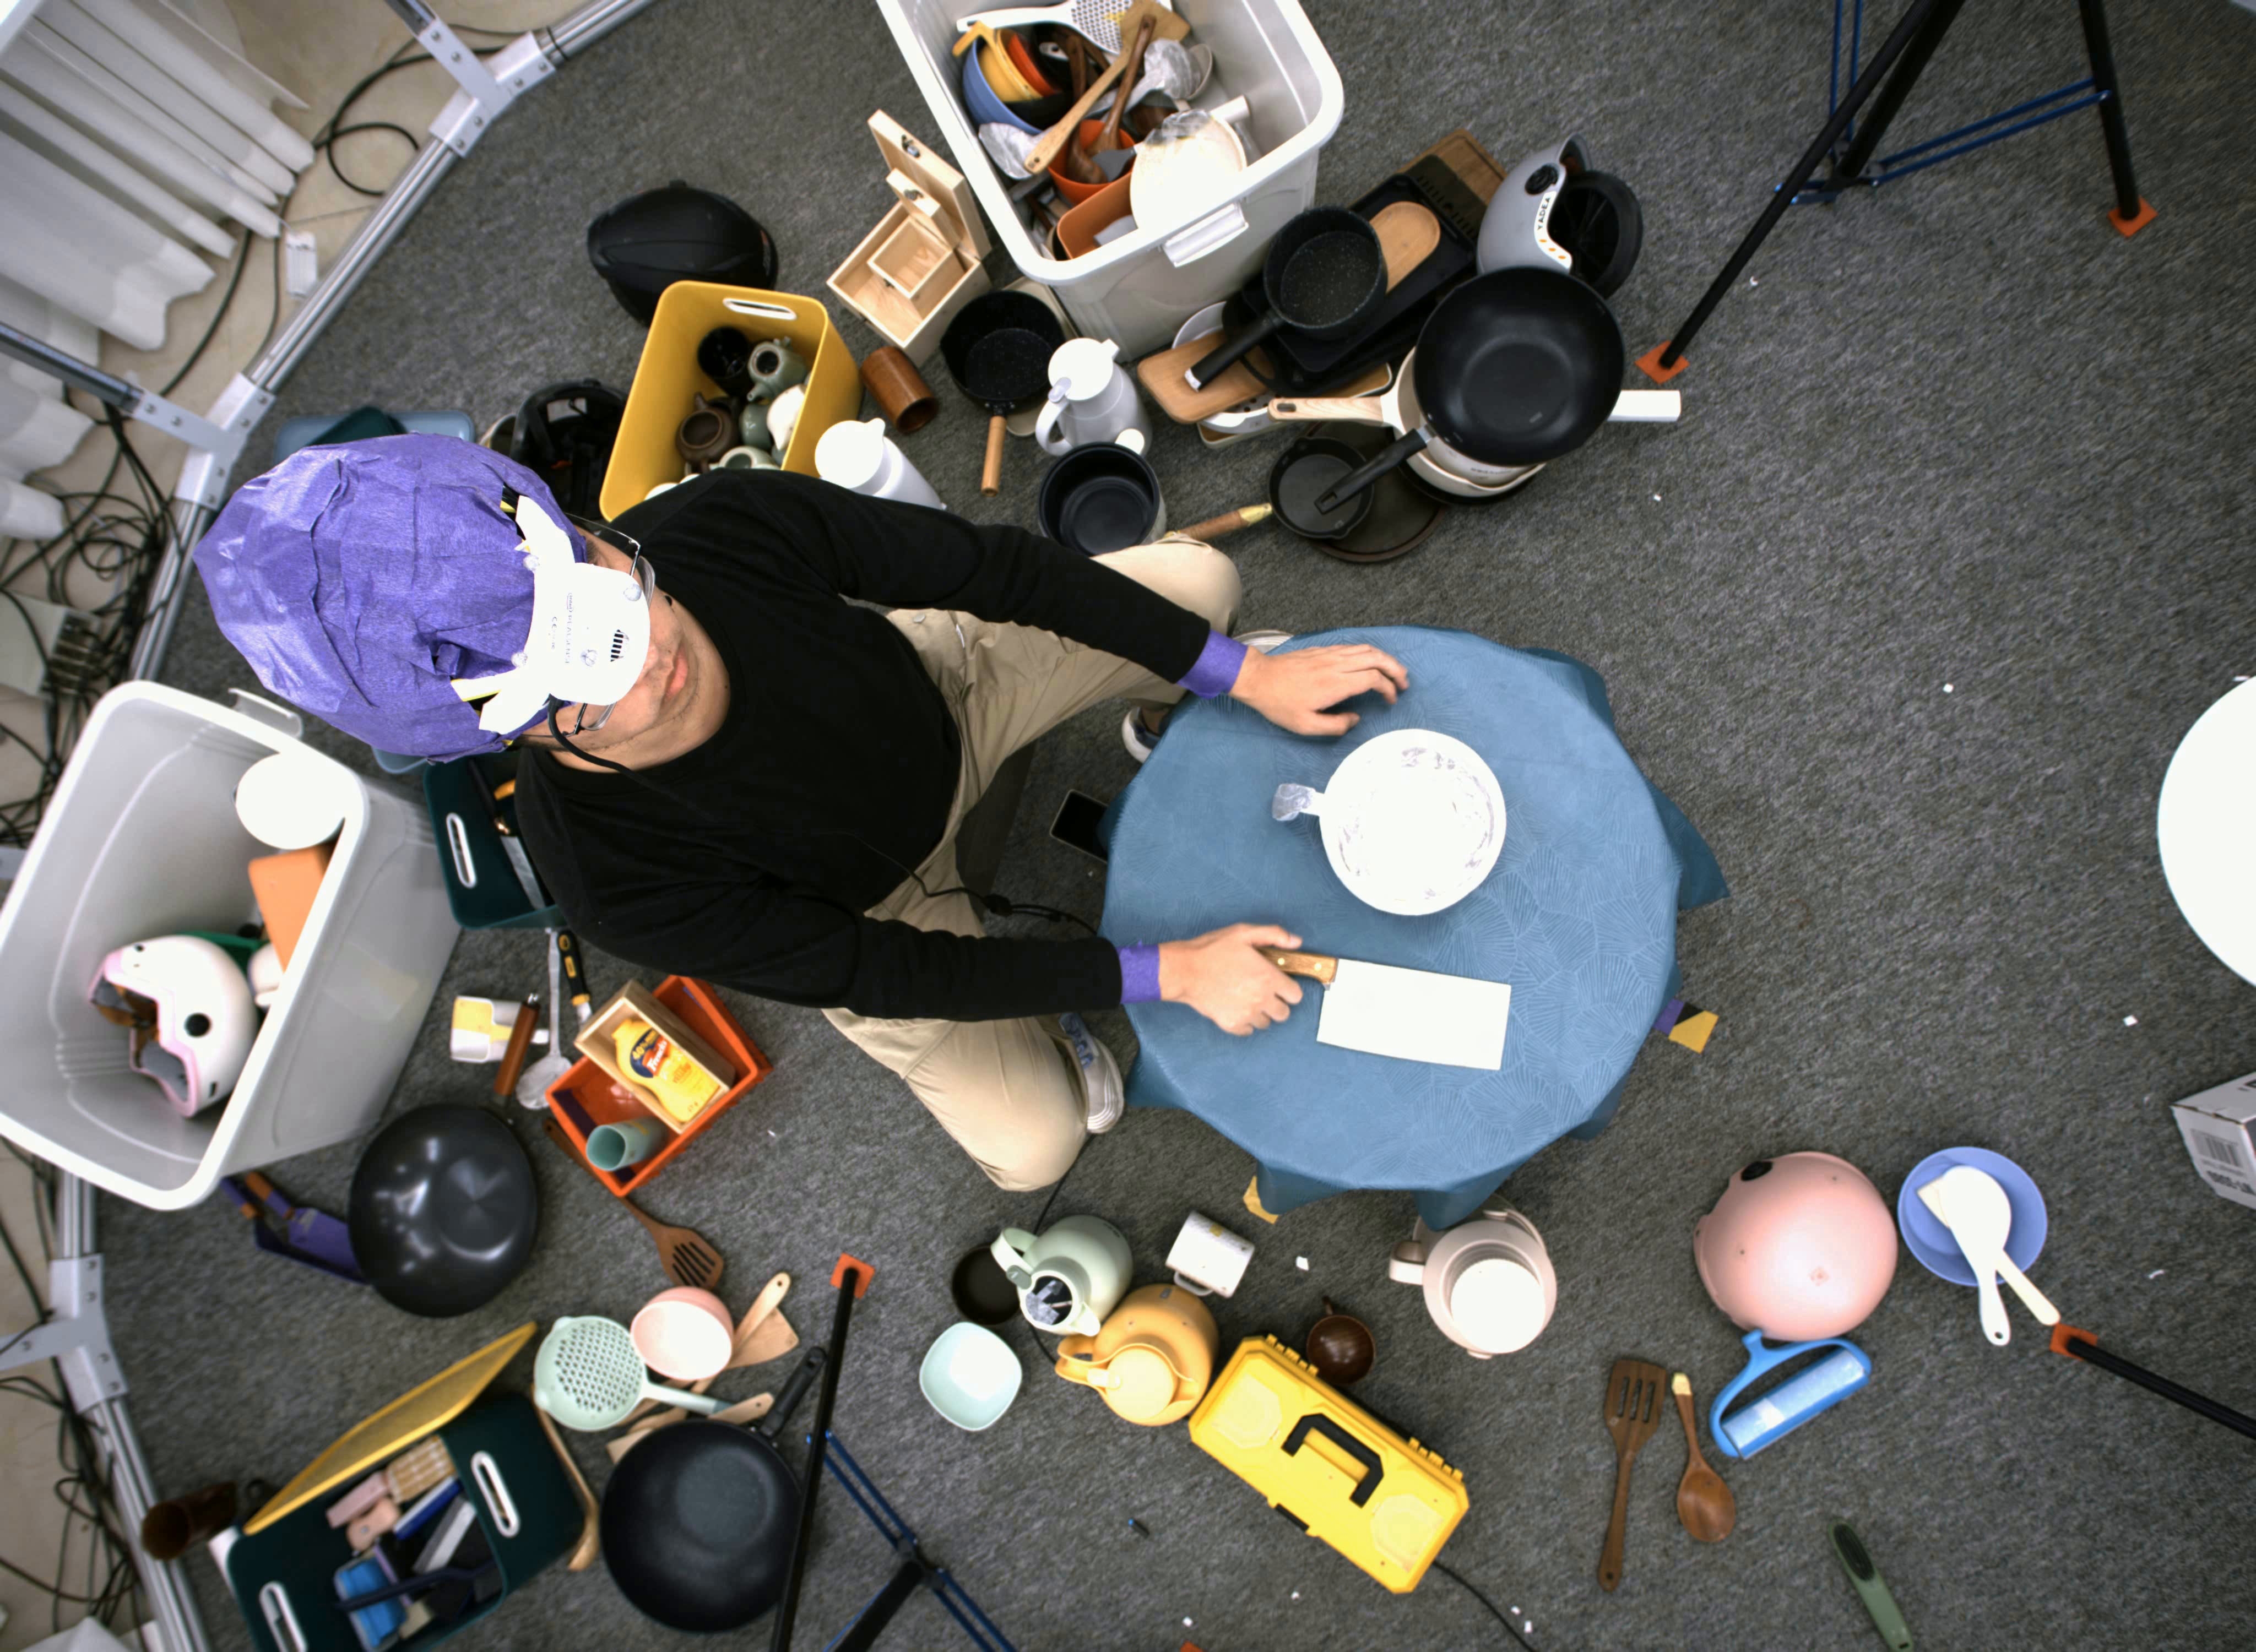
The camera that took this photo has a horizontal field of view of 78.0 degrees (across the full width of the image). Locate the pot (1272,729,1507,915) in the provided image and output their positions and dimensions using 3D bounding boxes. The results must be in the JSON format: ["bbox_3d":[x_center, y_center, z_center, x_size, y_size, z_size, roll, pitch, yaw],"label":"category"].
[{"bbox_3d":[0.259,-0.006,1.396,0.234,0.137,0.178,11,88,10],"label":"pot"}]

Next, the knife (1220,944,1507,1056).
[{"bbox_3d":[0.243,0.184,1.454,0.306,0.021,0.092,8,89,9],"label":"knife"}]
